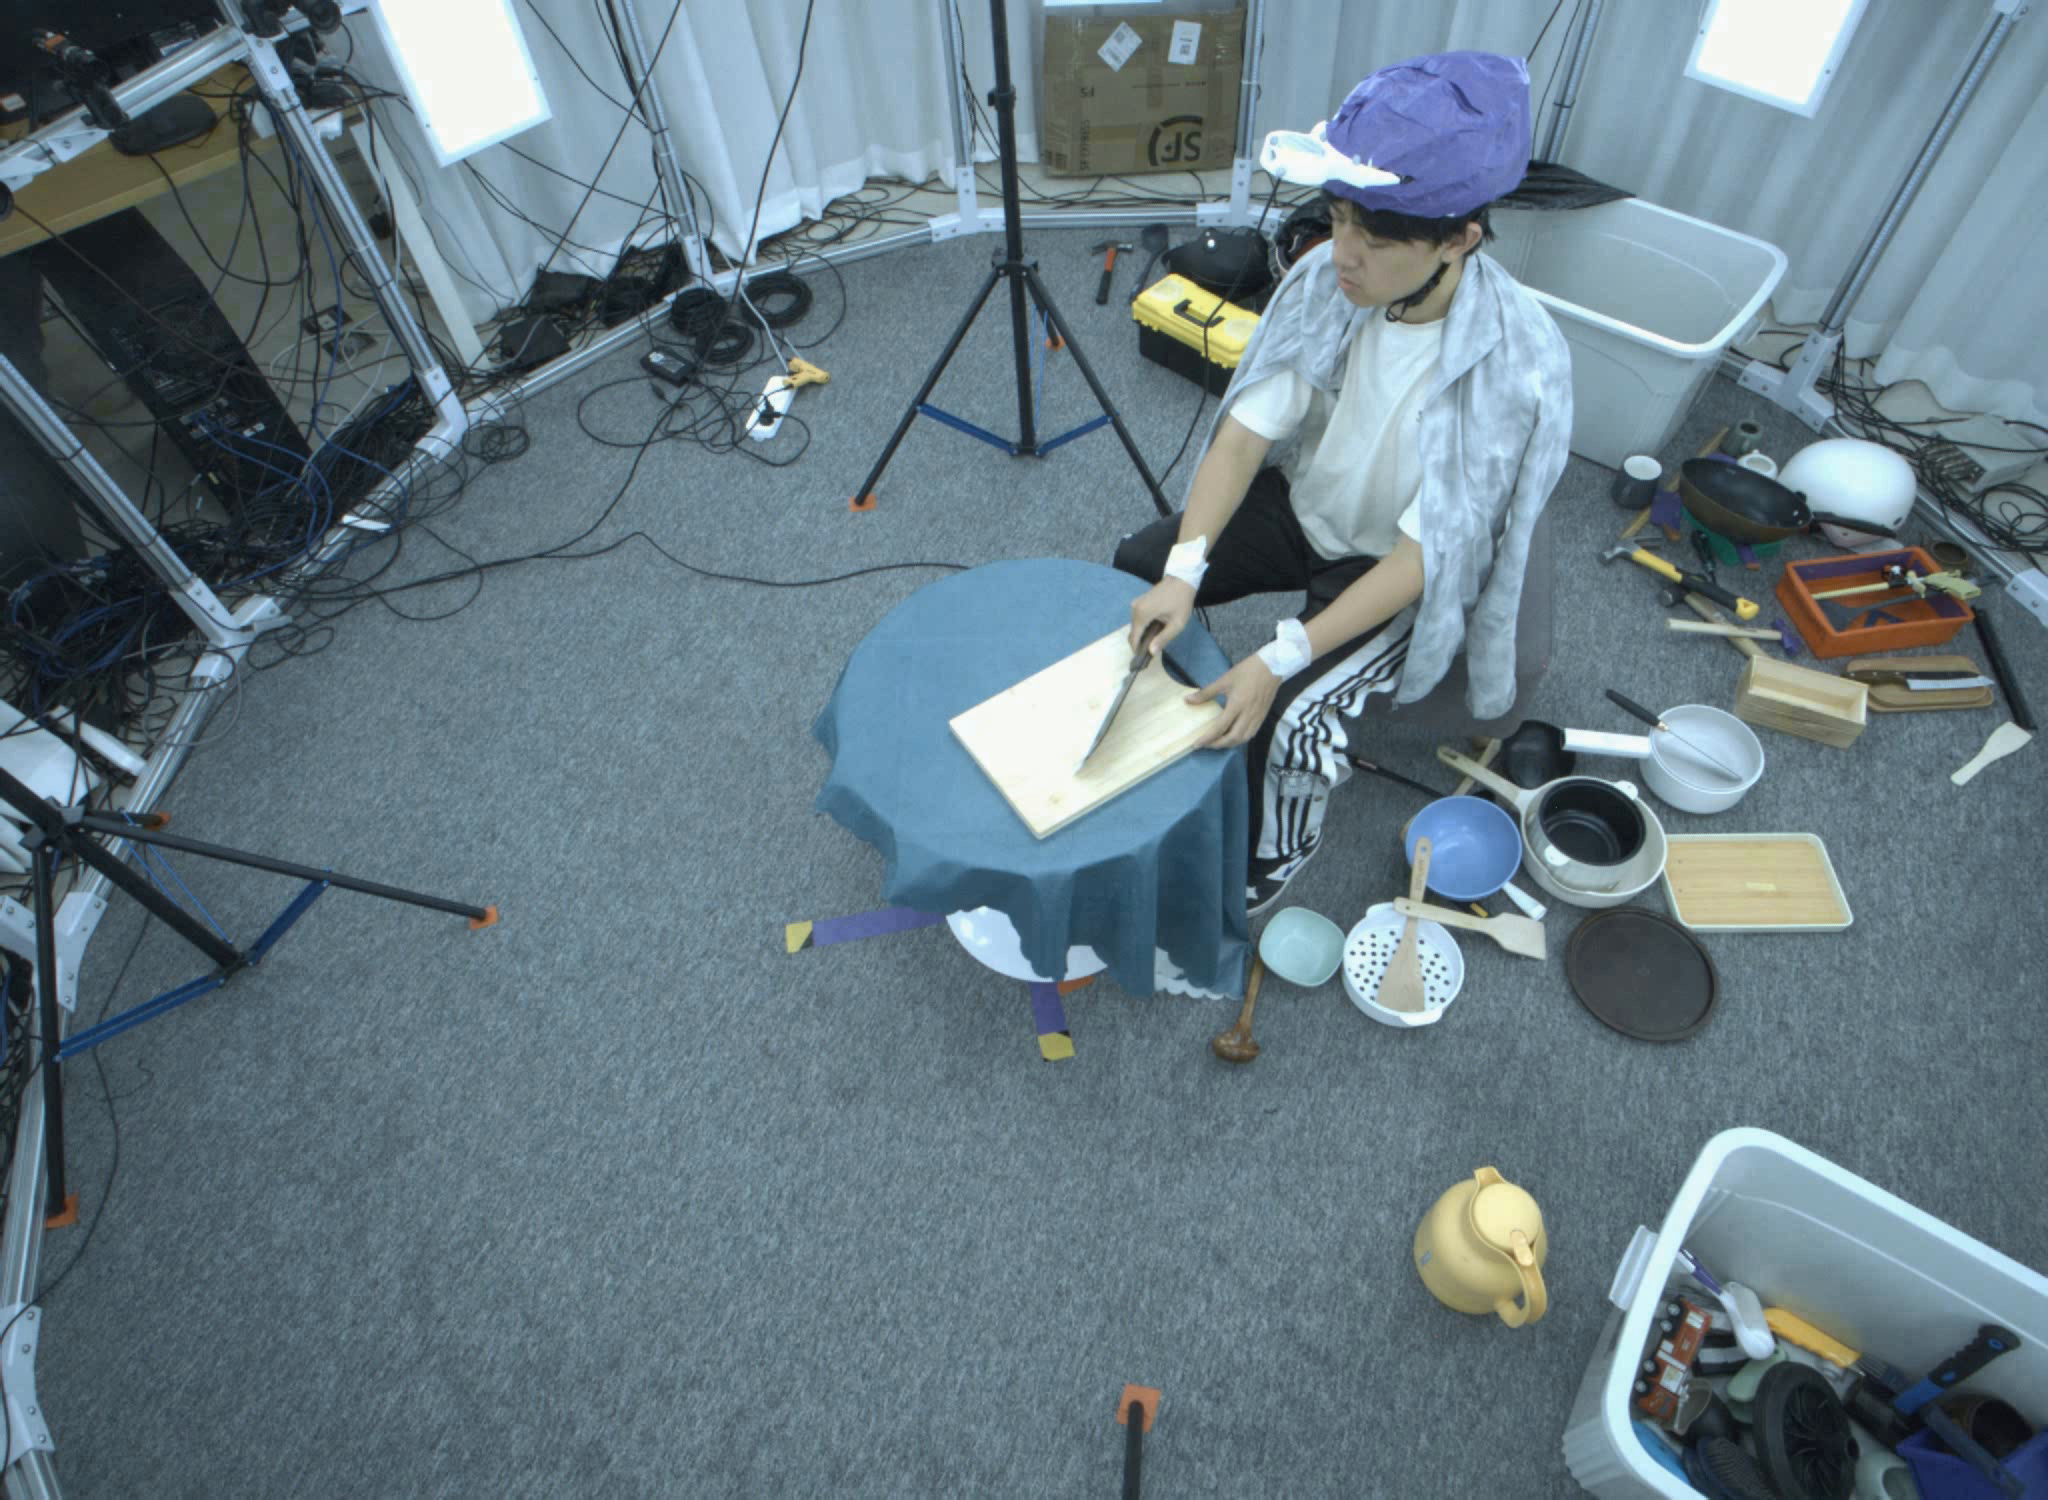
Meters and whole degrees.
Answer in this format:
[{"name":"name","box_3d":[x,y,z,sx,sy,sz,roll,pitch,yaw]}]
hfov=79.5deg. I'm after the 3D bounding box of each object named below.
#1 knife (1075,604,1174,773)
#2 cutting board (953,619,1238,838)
[{"name":"knife","box_3d":[0.144,-0.092,1.785,0.024,0.067,0.299,34,63,-10]},{"name":"cutting board","box_3d":[0.101,-0.041,1.805,0.351,0.024,0.246,-30,59,-18]}]
